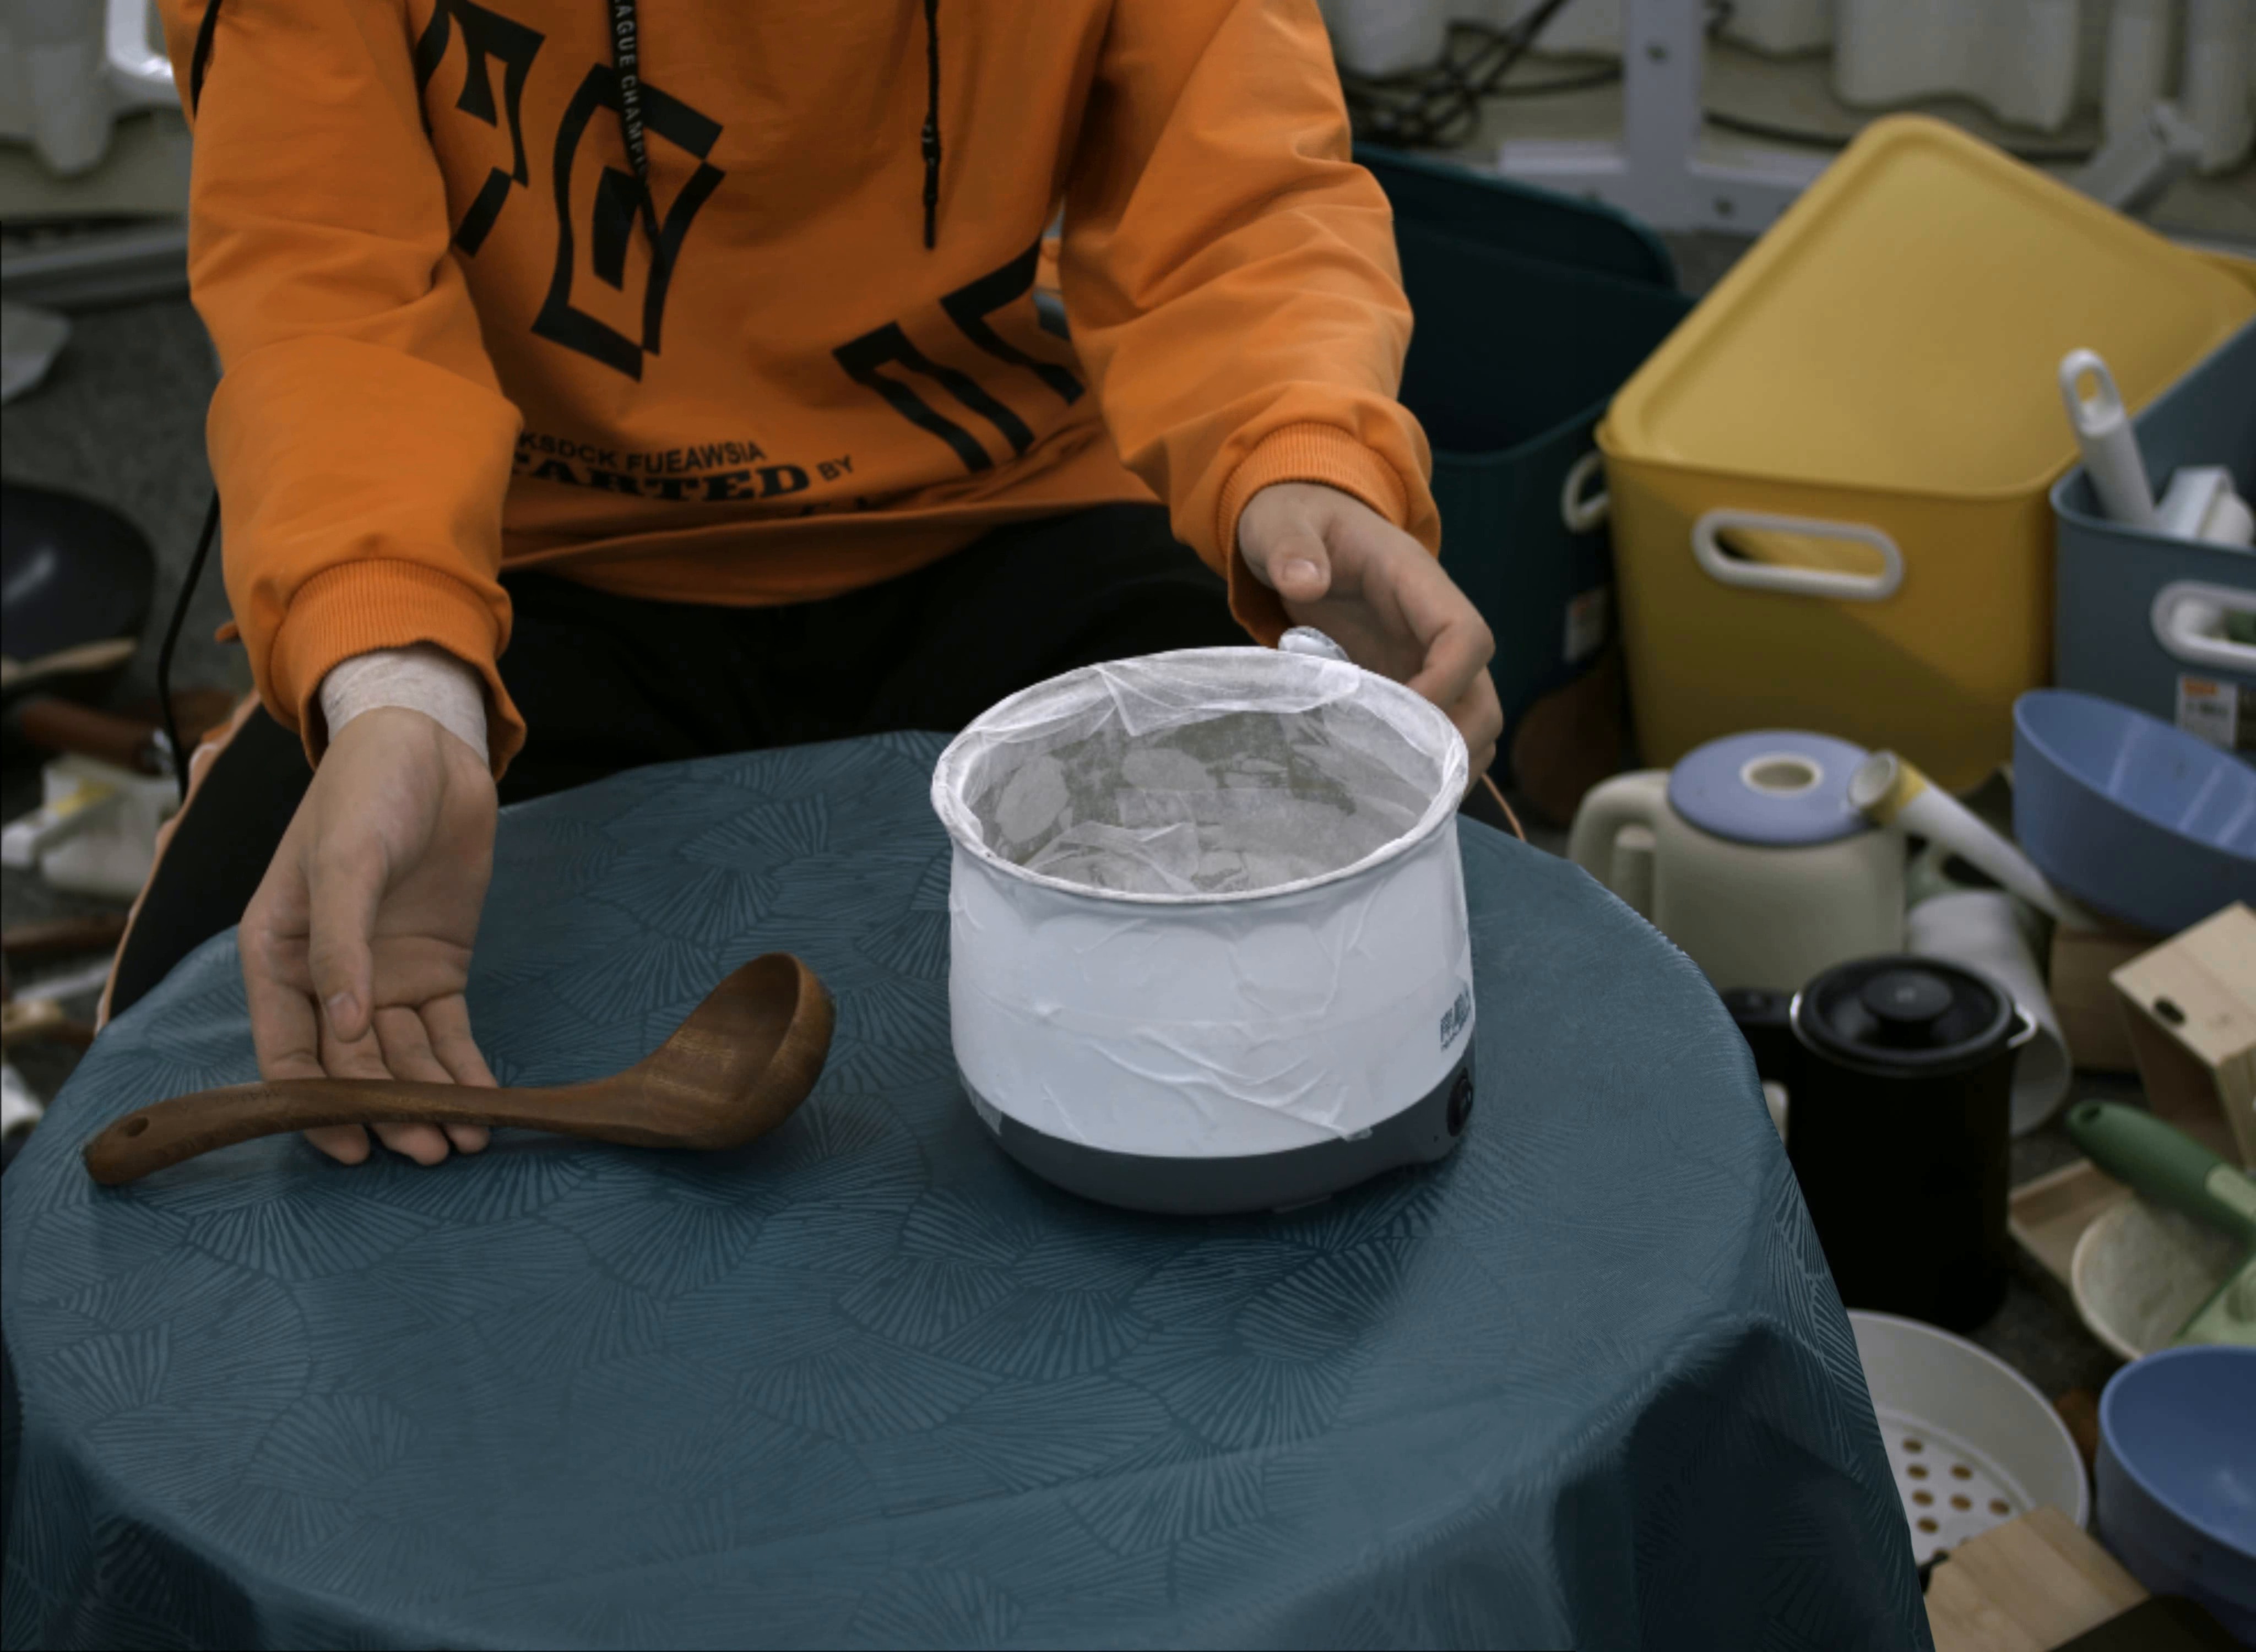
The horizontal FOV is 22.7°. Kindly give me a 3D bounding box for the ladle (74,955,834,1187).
[{"bbox_3d":[-0.227,0.085,1.888,0.259,0.064,0.077,-3,28,-1],"label":"ladle"}]

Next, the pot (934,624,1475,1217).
[{"bbox_3d":[0.037,0.024,1.898,0.177,0.135,0.238,7,29,19],"label":"pot"}]
